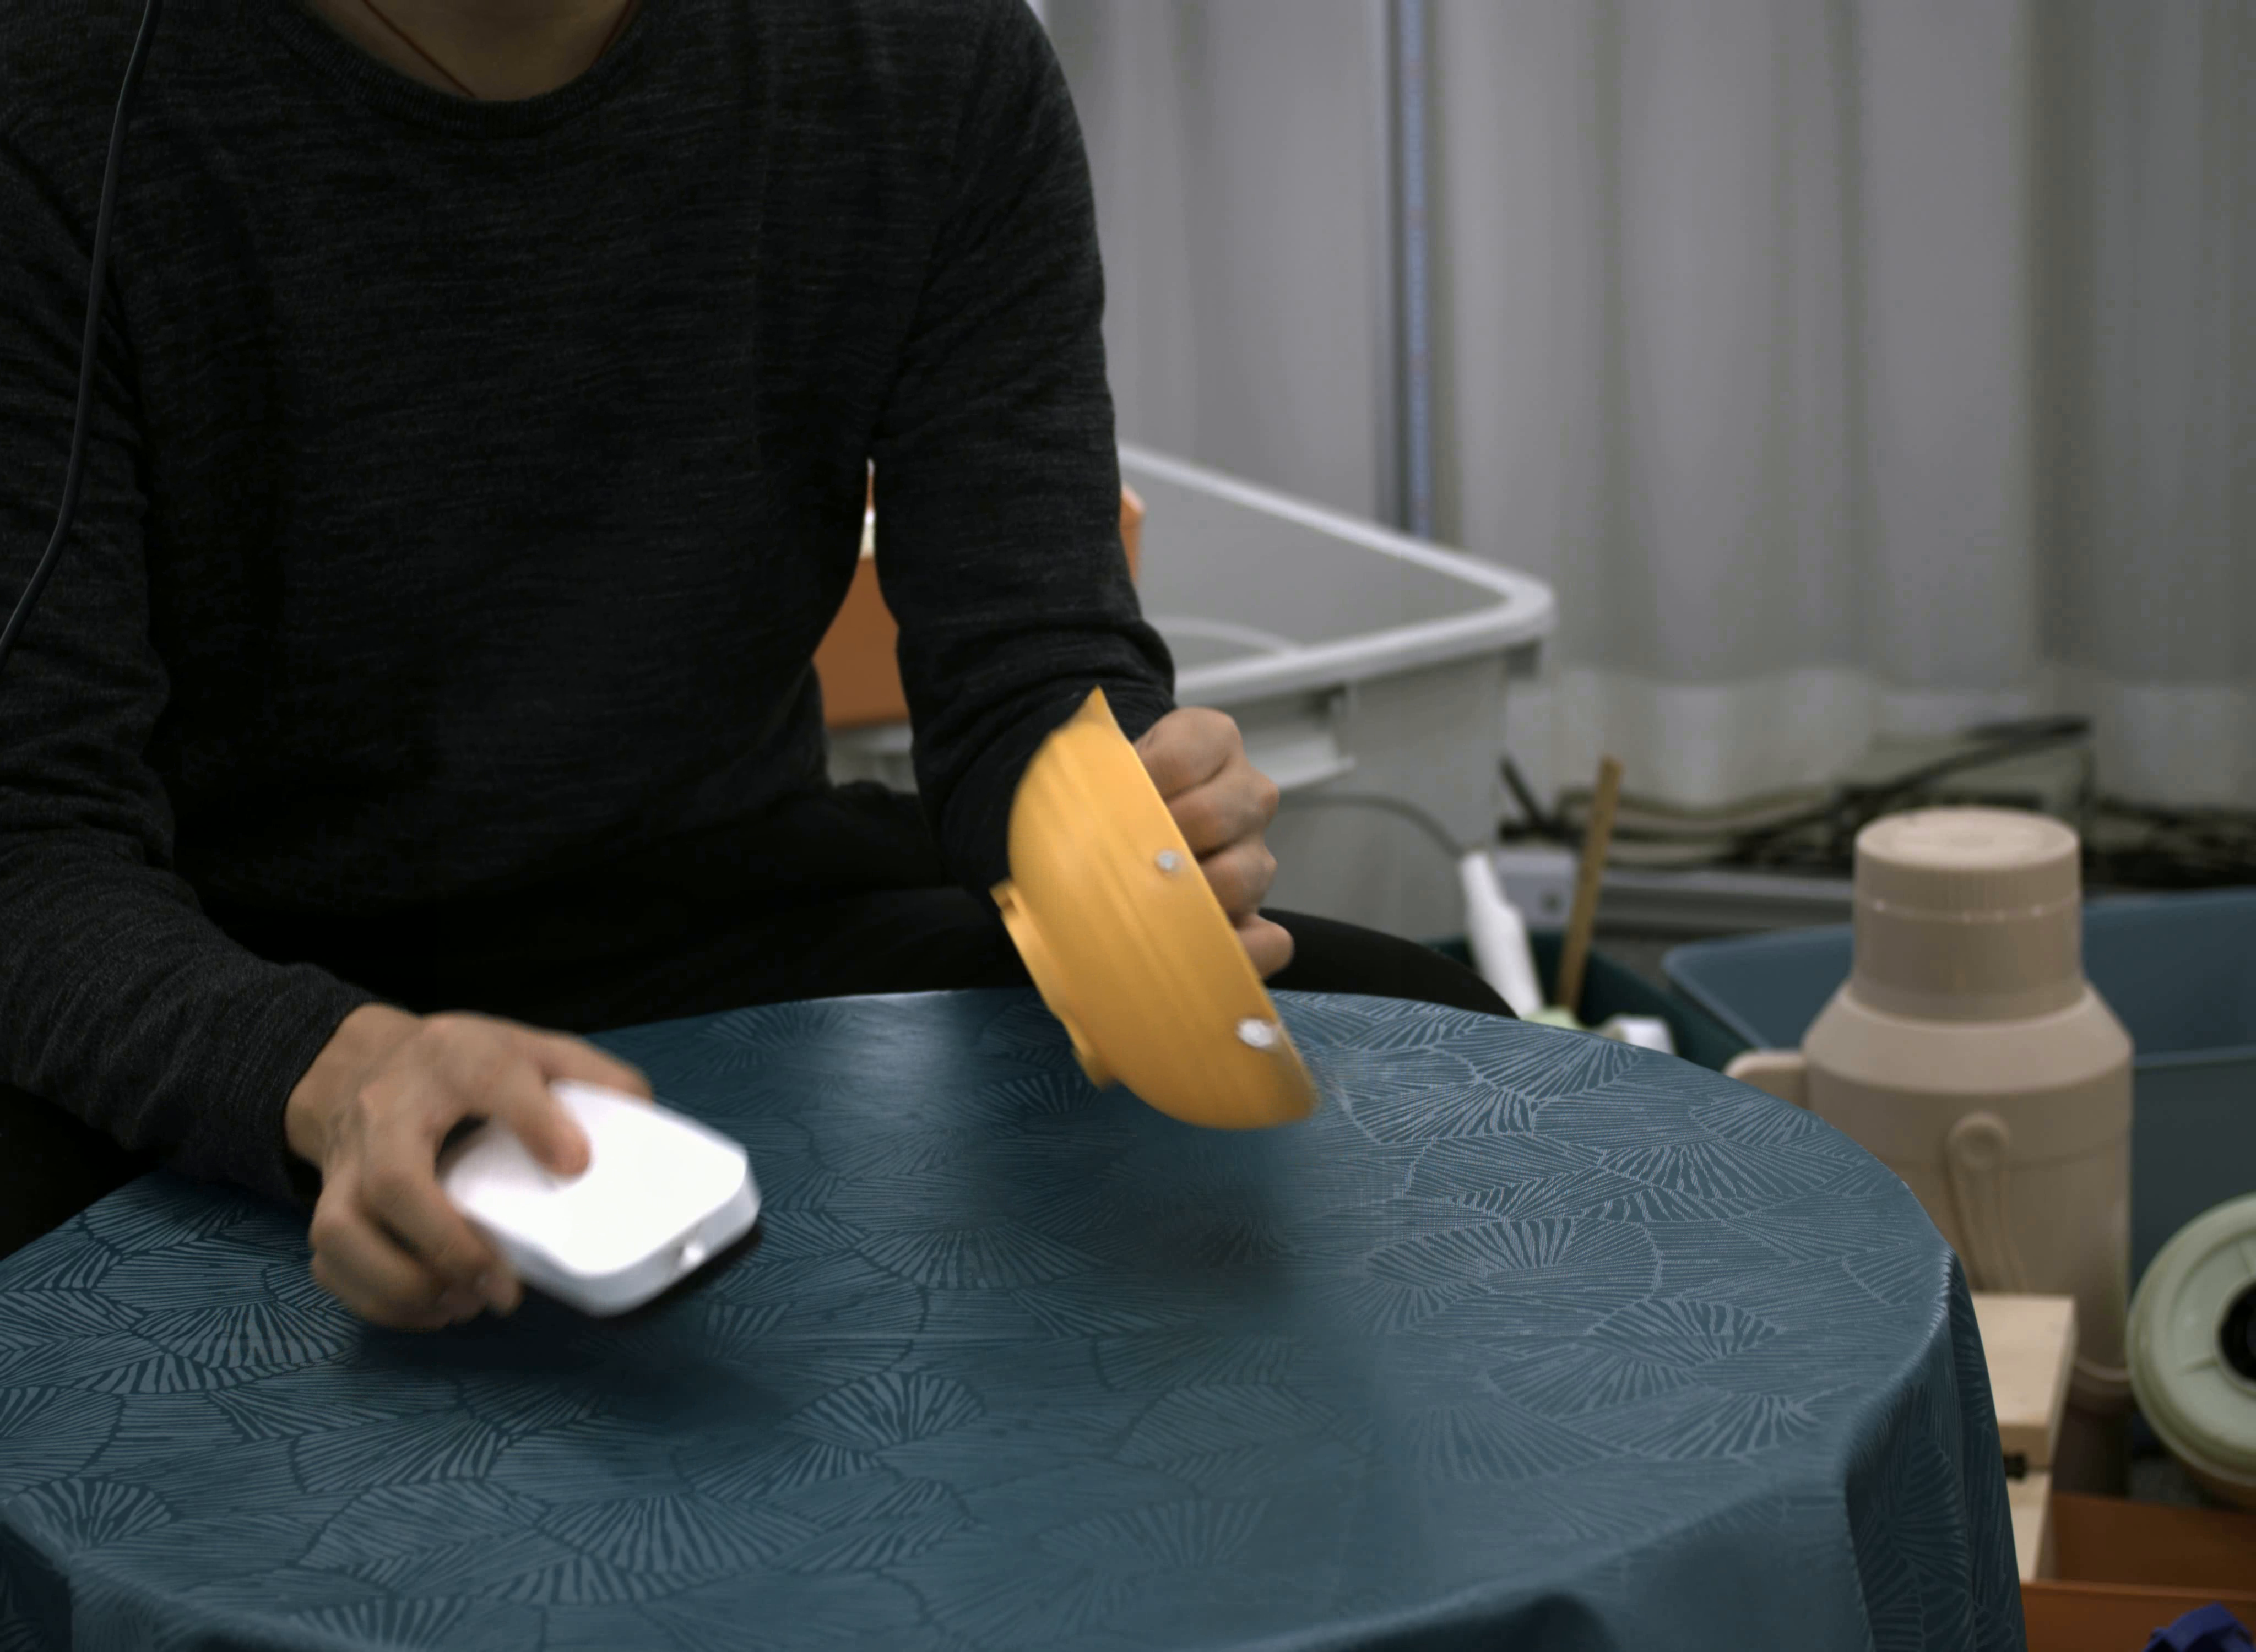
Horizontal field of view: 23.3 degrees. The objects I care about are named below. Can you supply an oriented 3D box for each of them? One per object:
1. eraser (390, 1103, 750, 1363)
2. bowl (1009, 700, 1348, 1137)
[{"bbox_3d":[-0.160,0.114,1.580,0.063,0.034,0.132,-30,26,-24],"label":"eraser"},{"bbox_3d":[0.006,0.039,1.635,0.060,0.144,0.146,-31,16,0],"label":"bowl"}]
